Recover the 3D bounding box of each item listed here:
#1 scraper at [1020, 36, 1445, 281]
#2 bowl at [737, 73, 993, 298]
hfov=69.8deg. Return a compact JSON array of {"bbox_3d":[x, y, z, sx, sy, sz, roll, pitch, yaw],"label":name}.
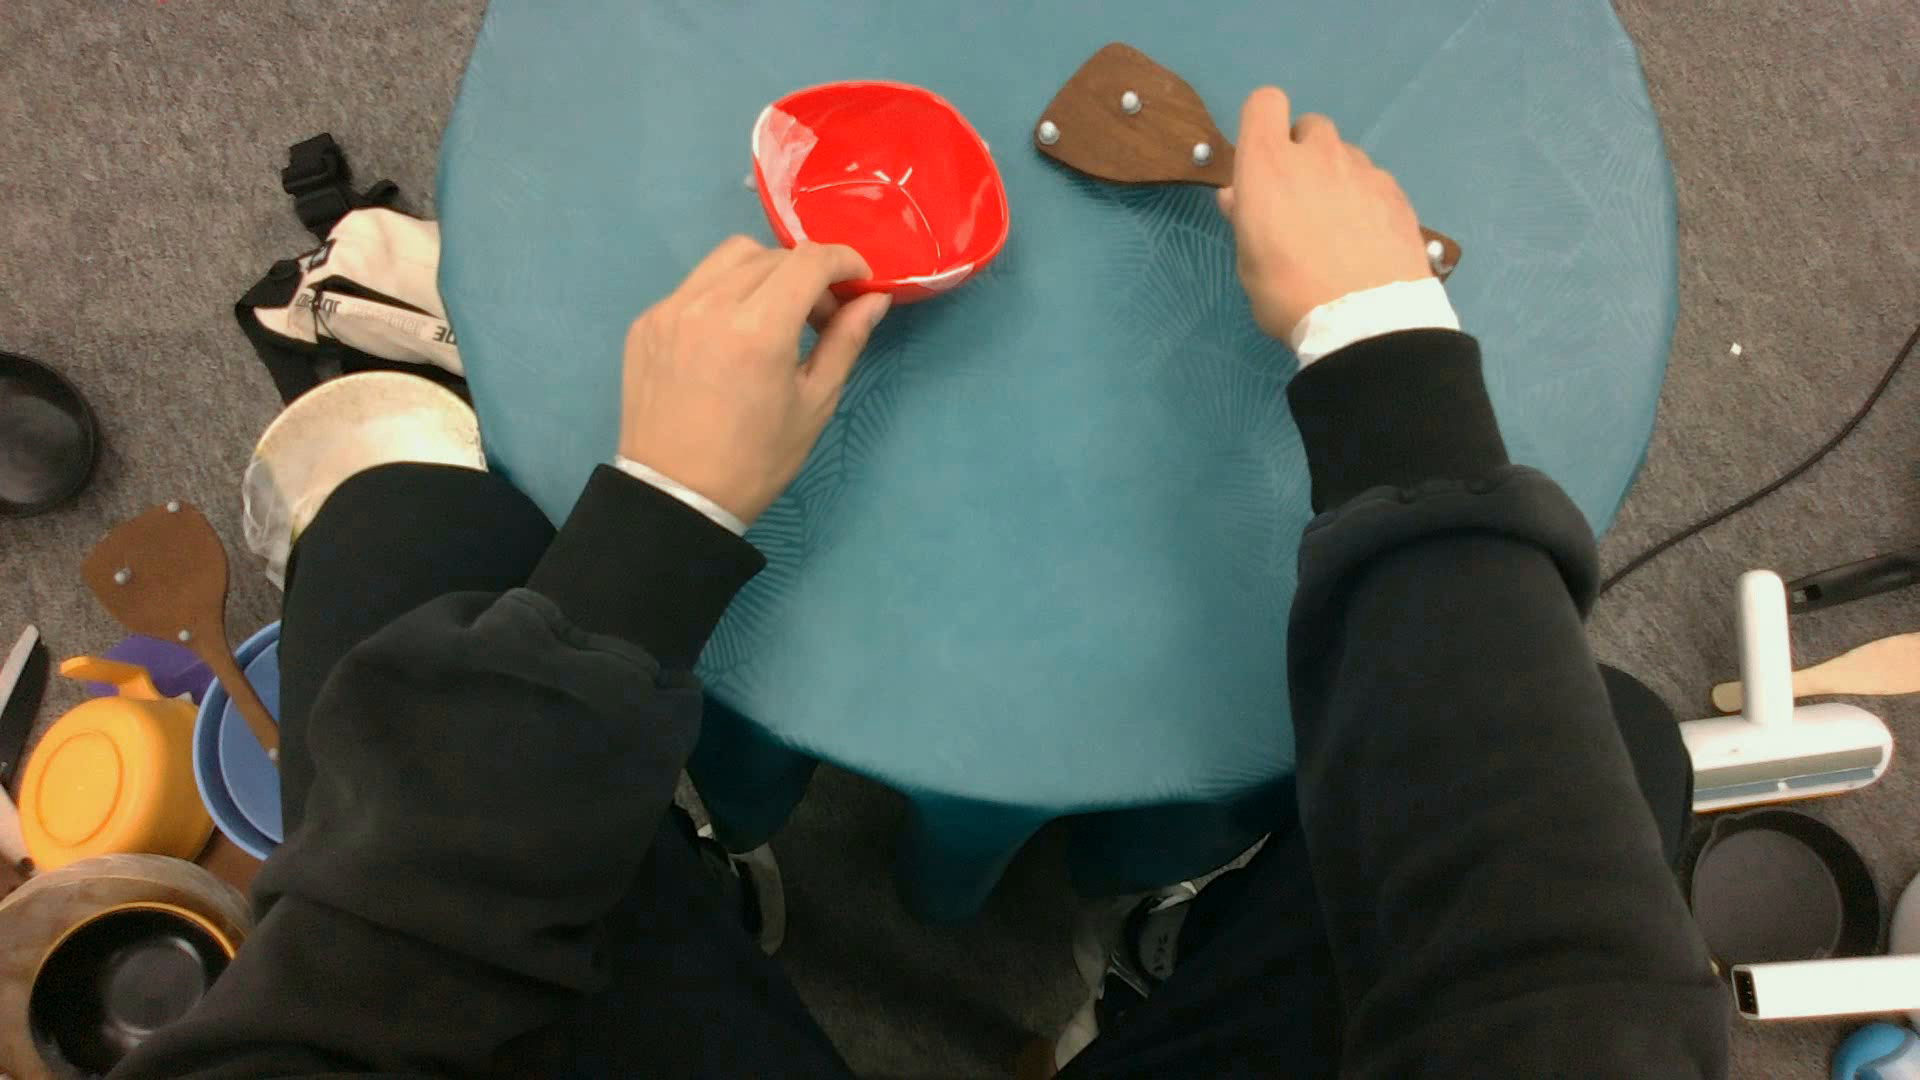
[{"bbox_3d":[0.126,-0.173,0.641,0.211,0.011,0.076,33,76,24],"label":"scraper"},{"bbox_3d":[-0.047,-0.152,0.626,0.119,0.051,0.119,8,62,-15],"label":"bowl"}]
